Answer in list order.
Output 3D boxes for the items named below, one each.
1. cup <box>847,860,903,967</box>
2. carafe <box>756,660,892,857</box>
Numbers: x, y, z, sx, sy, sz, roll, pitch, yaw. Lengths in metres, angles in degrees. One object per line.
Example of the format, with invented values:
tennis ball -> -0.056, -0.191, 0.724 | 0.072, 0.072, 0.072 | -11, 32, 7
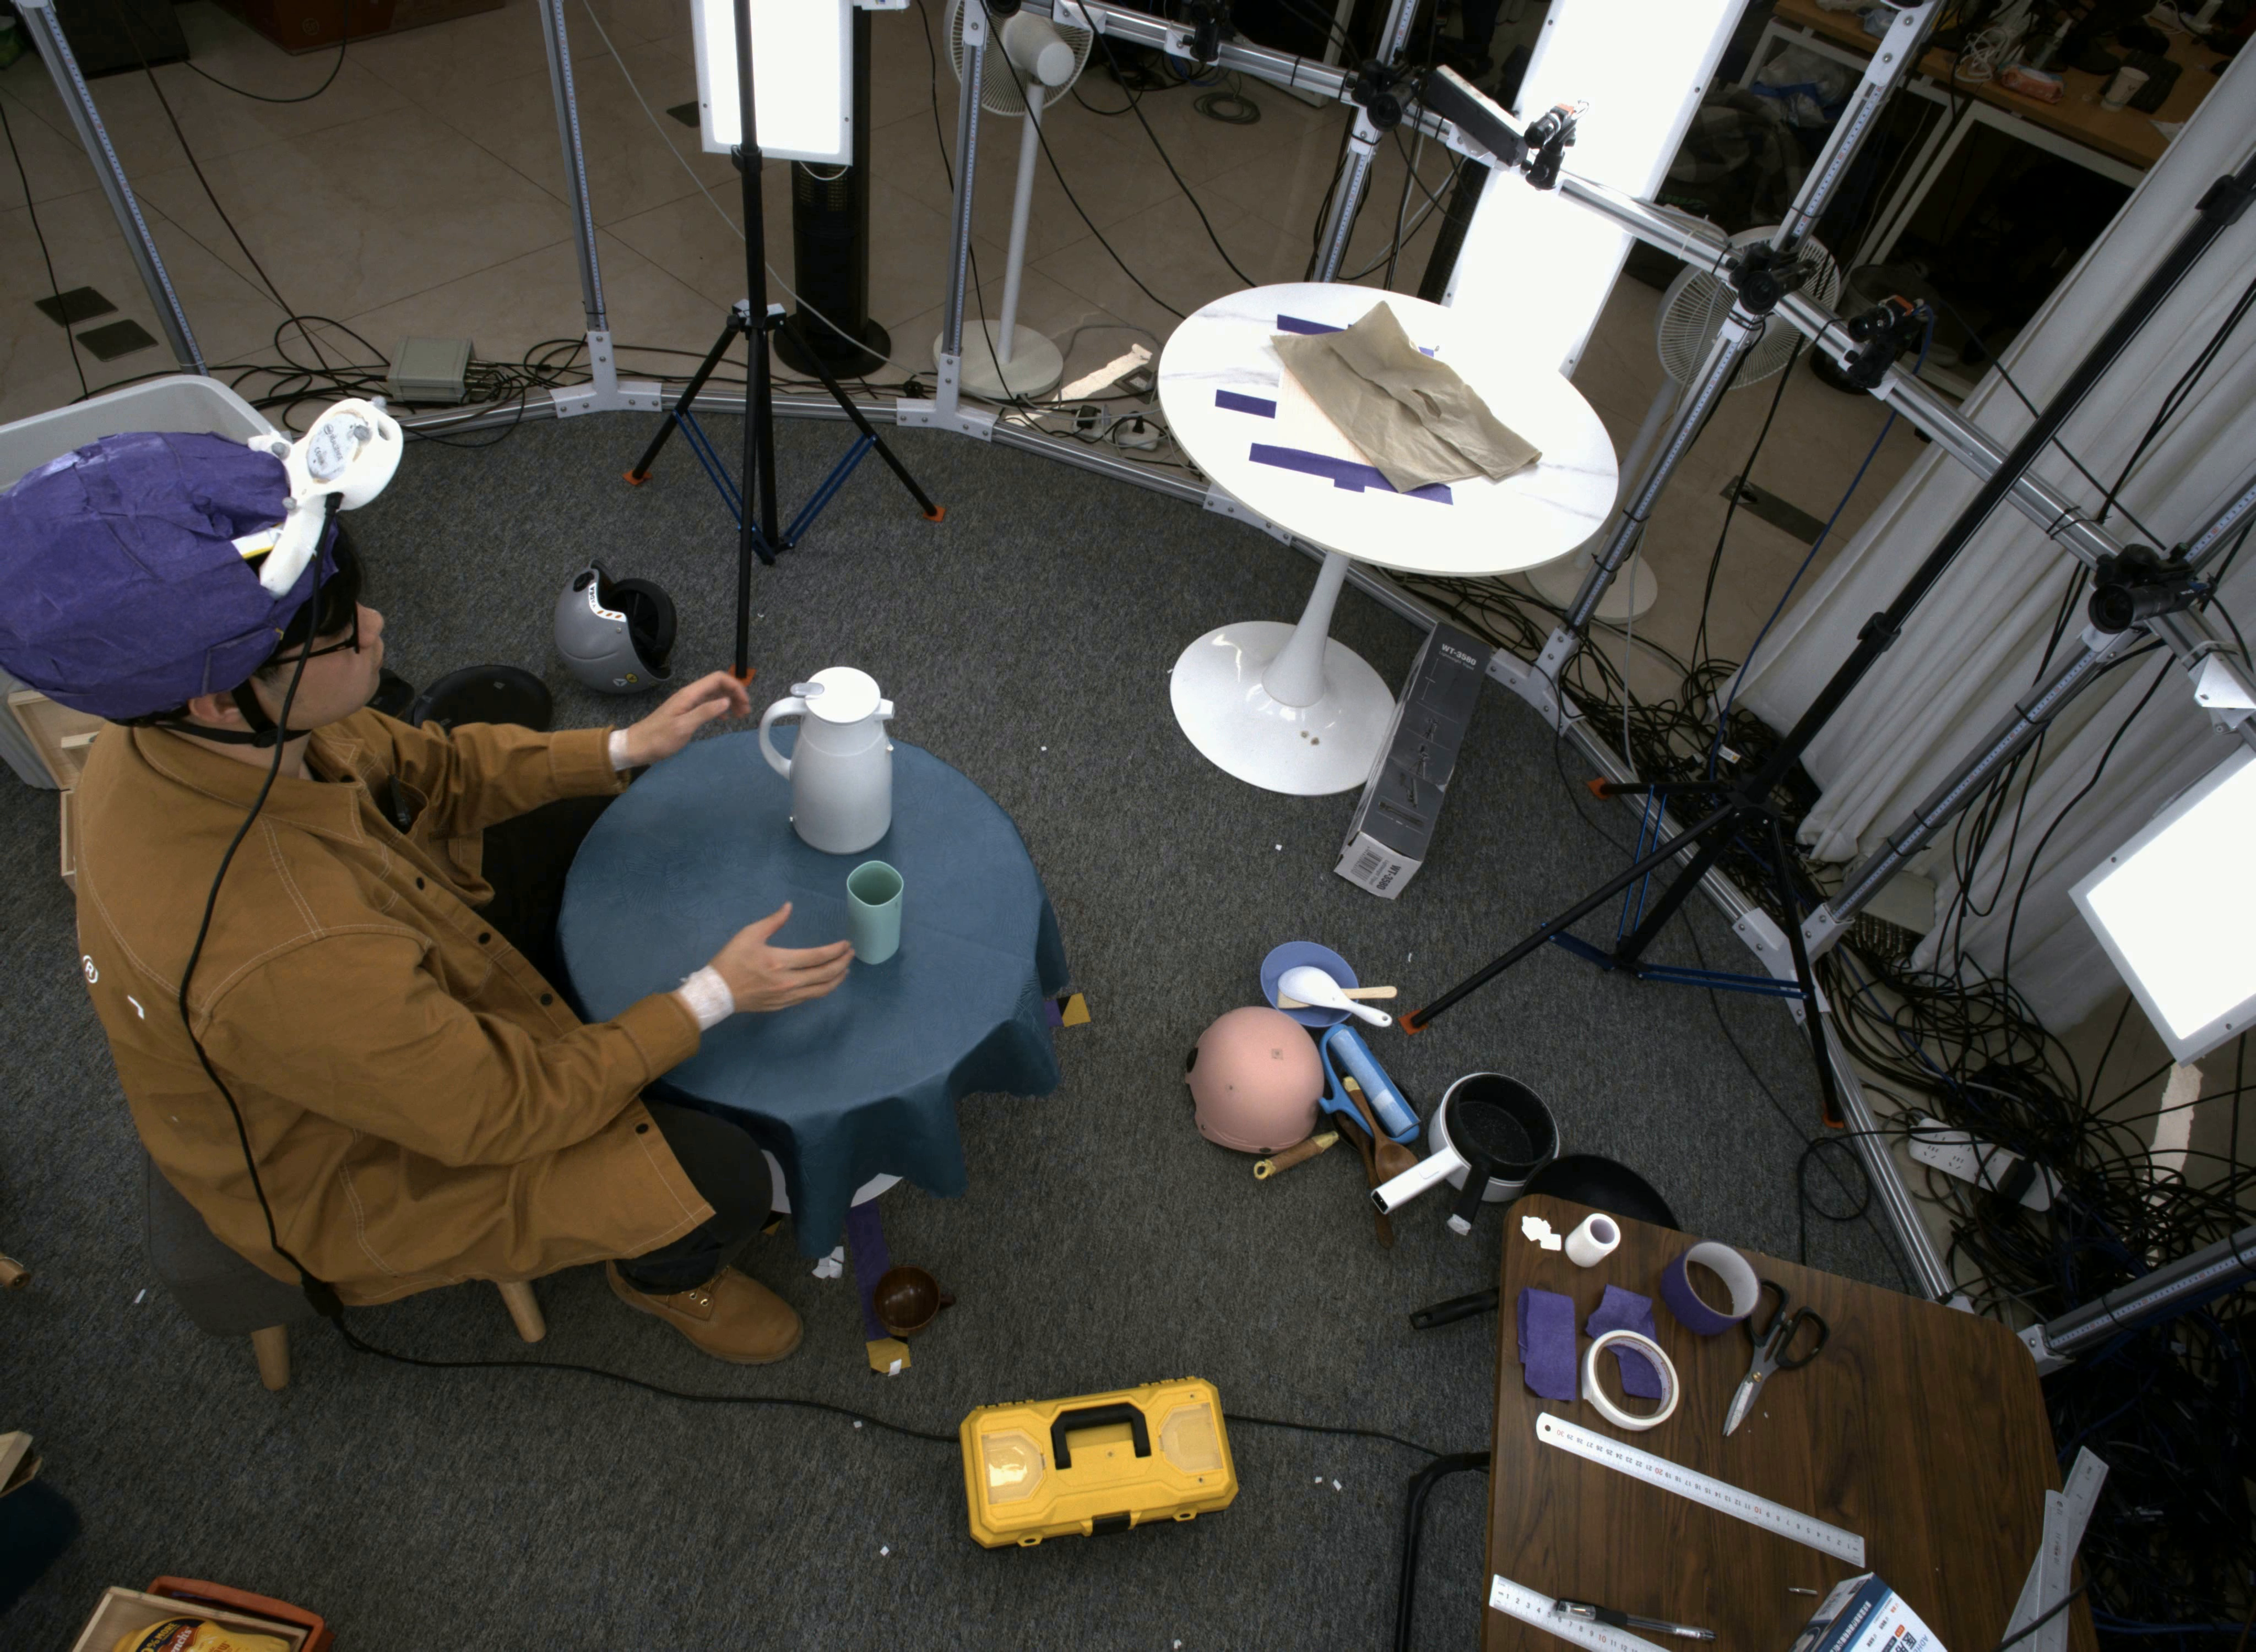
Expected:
cup -> -0.311, 0.107, 1.591 | 0.066, 0.135, 0.065 | 6, 51, -6
carafe -> -0.384, -0.092, 1.642 | 0.167, 0.254, 0.130 | 4, 50, -8
